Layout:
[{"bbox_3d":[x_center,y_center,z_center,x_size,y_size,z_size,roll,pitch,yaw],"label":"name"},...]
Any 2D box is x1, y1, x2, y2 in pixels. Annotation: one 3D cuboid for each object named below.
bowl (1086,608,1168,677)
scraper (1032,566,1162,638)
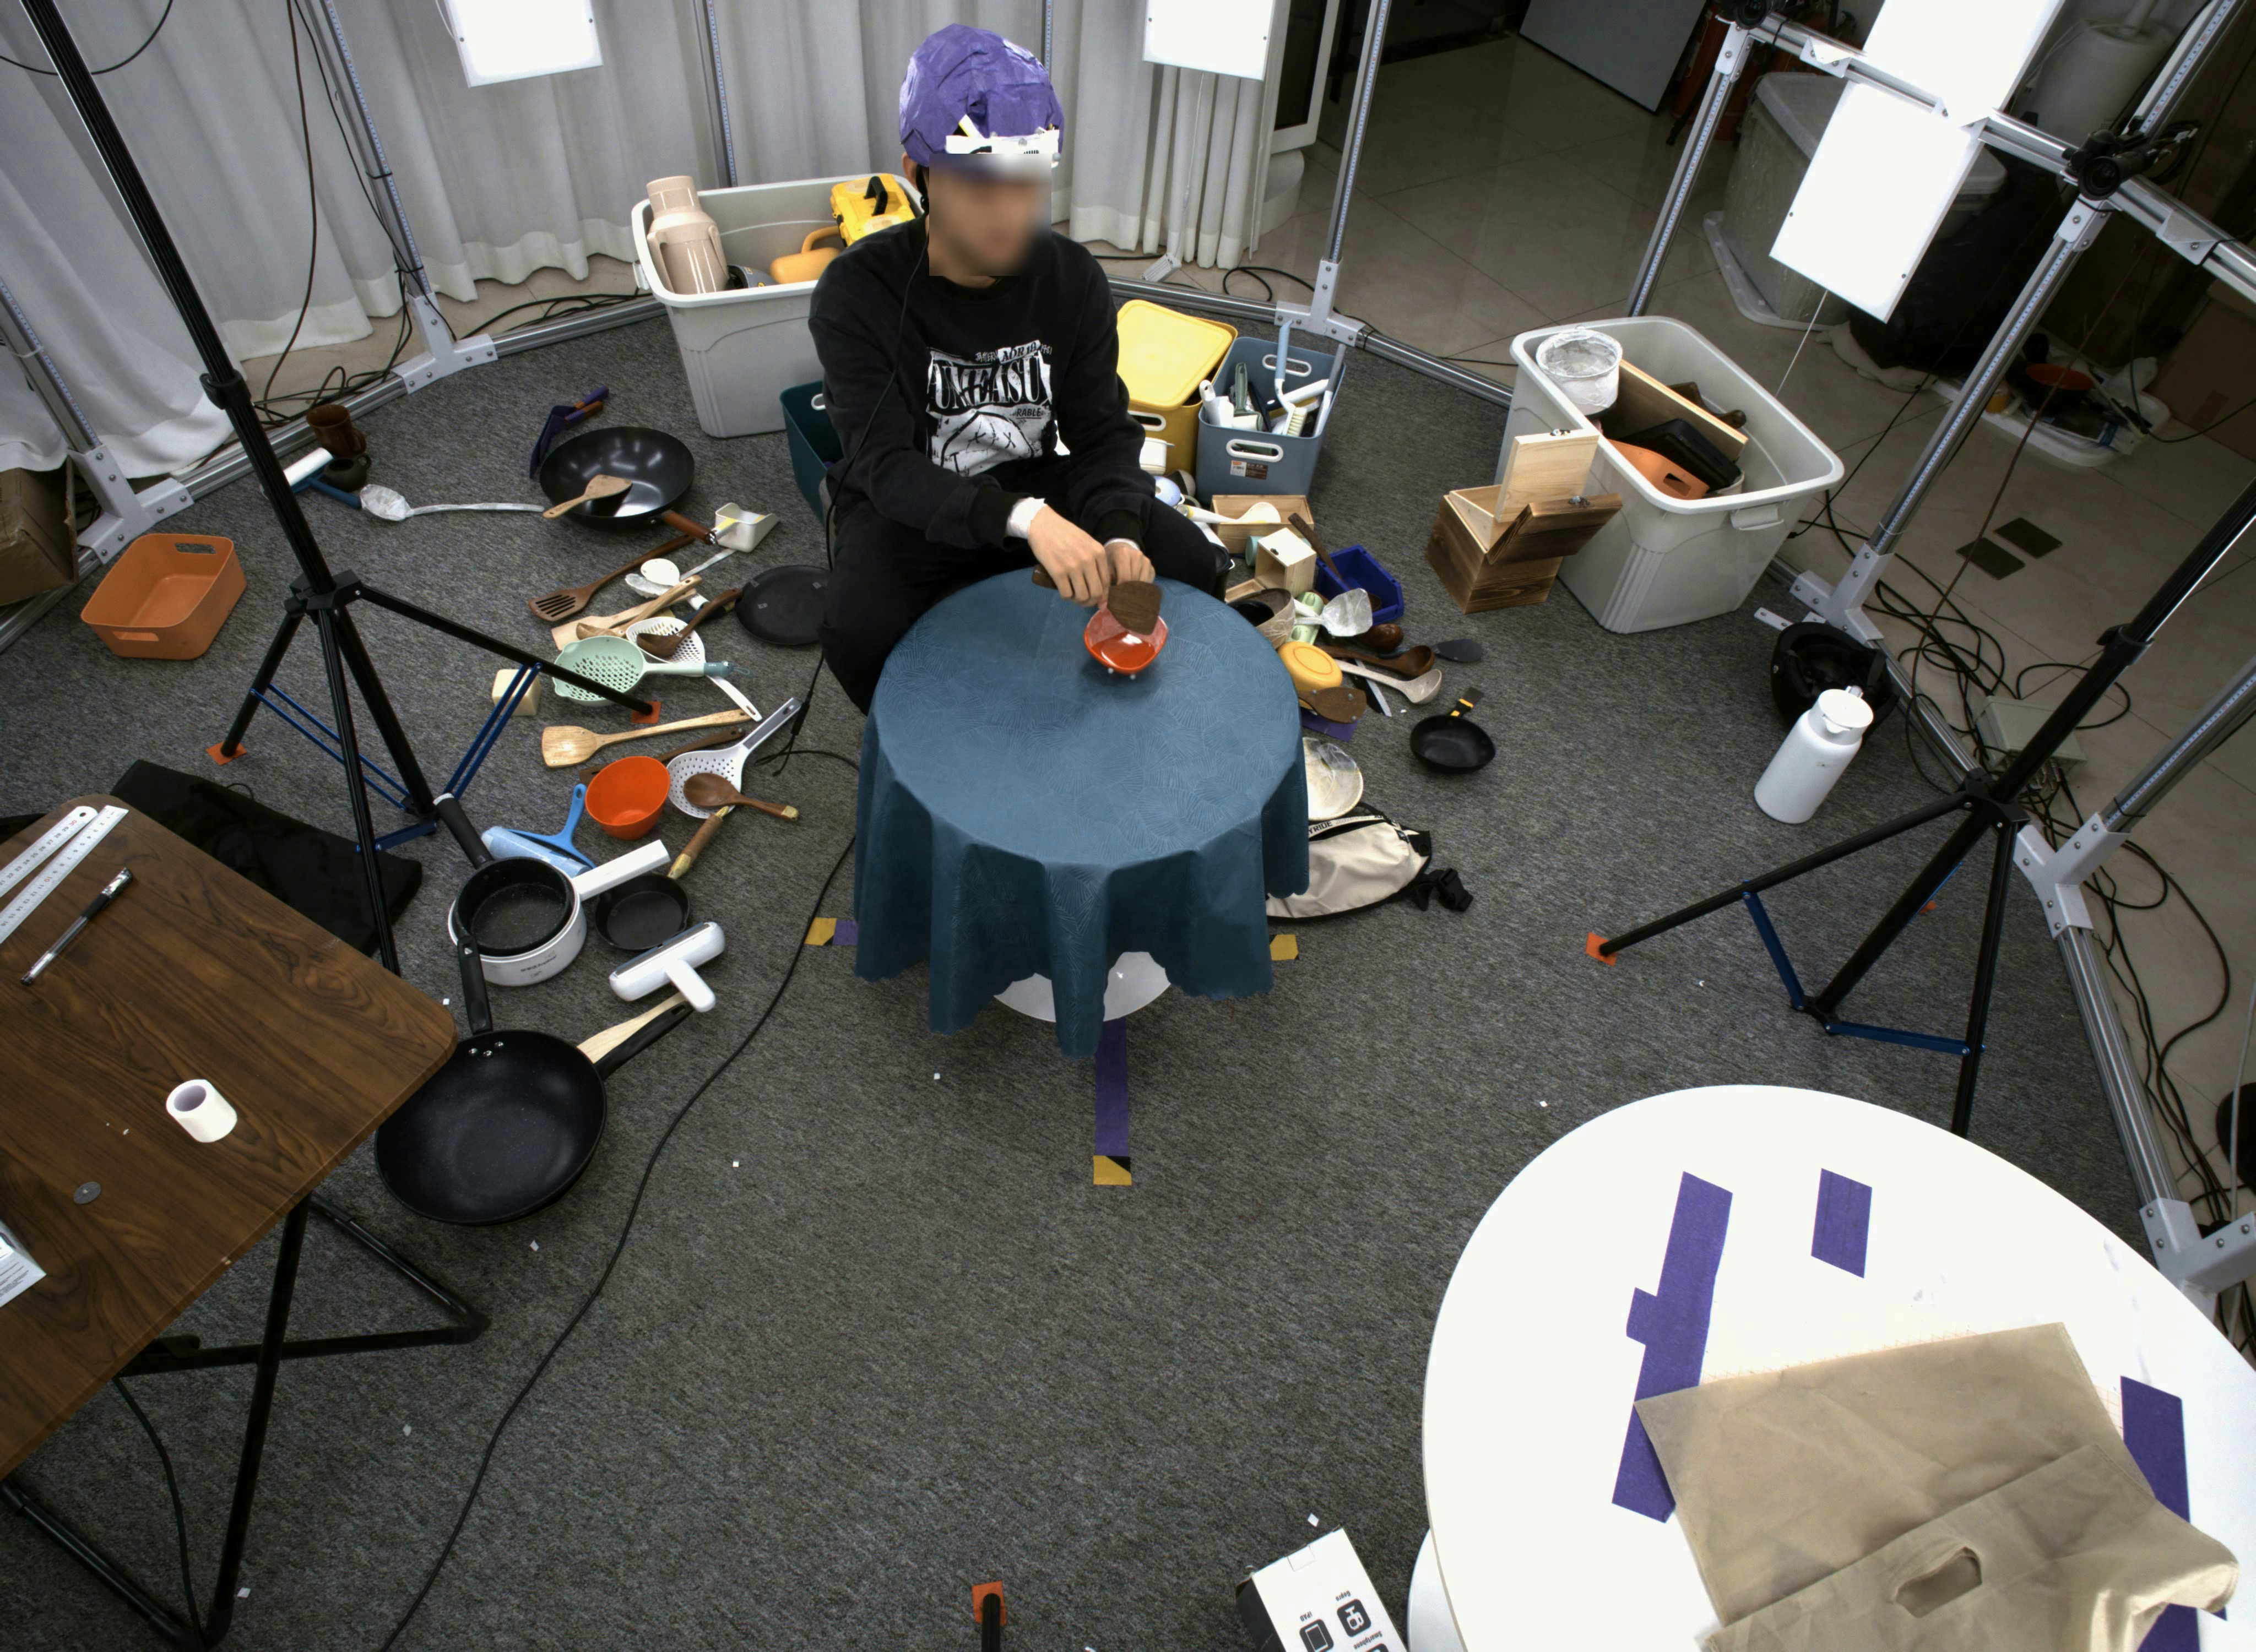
[{"bbox_3d":[-0.001,-0.264,1.873,0.119,0.050,0.121,-1,65,2],"label":"bowl"},{"bbox_3d":[-0.043,-0.323,1.799,0.209,0.076,0.011,12,2,-34],"label":"scraper"}]
